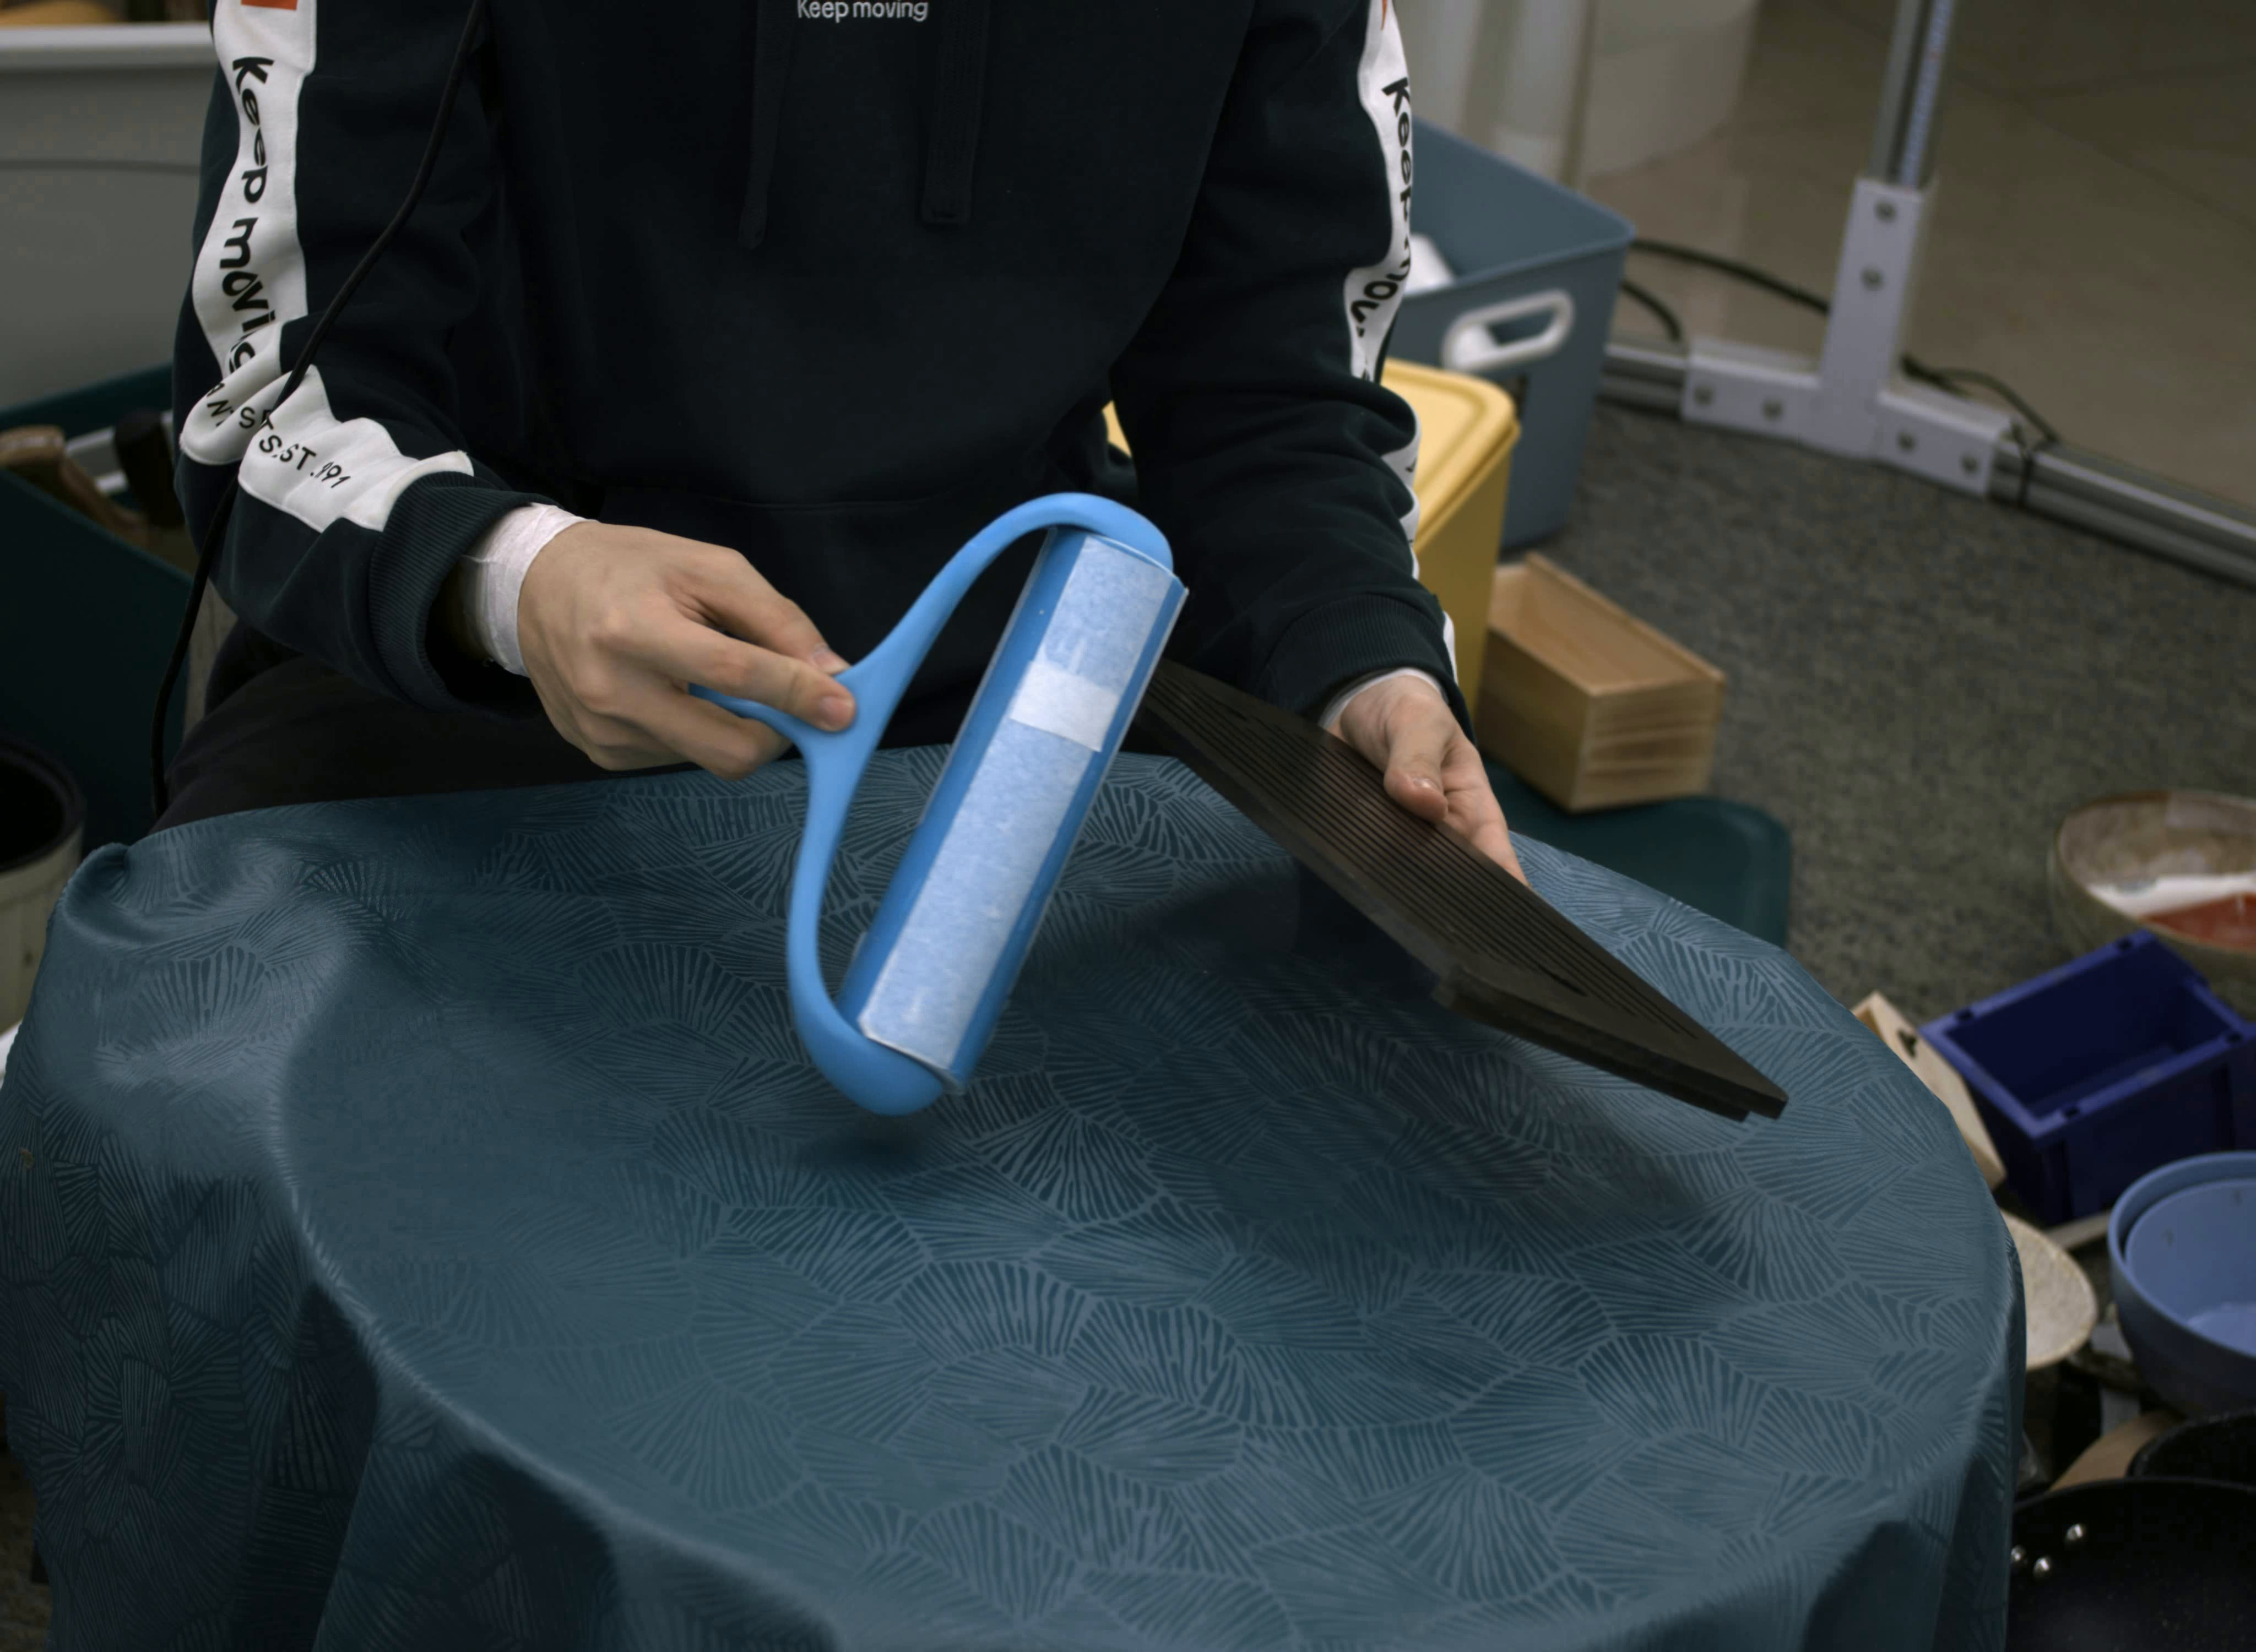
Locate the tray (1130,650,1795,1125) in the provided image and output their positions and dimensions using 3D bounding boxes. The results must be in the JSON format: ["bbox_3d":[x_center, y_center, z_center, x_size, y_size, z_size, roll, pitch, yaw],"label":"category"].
[{"bbox_3d":[0.092,0.014,1.868,0.168,0.018,0.309,22,12,-41],"label":"tray"}]

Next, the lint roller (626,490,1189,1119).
[{"bbox_3d":[-0.095,-0.025,1.827,0.180,0.230,0.067,18,-14,10],"label":"lint roller"}]
